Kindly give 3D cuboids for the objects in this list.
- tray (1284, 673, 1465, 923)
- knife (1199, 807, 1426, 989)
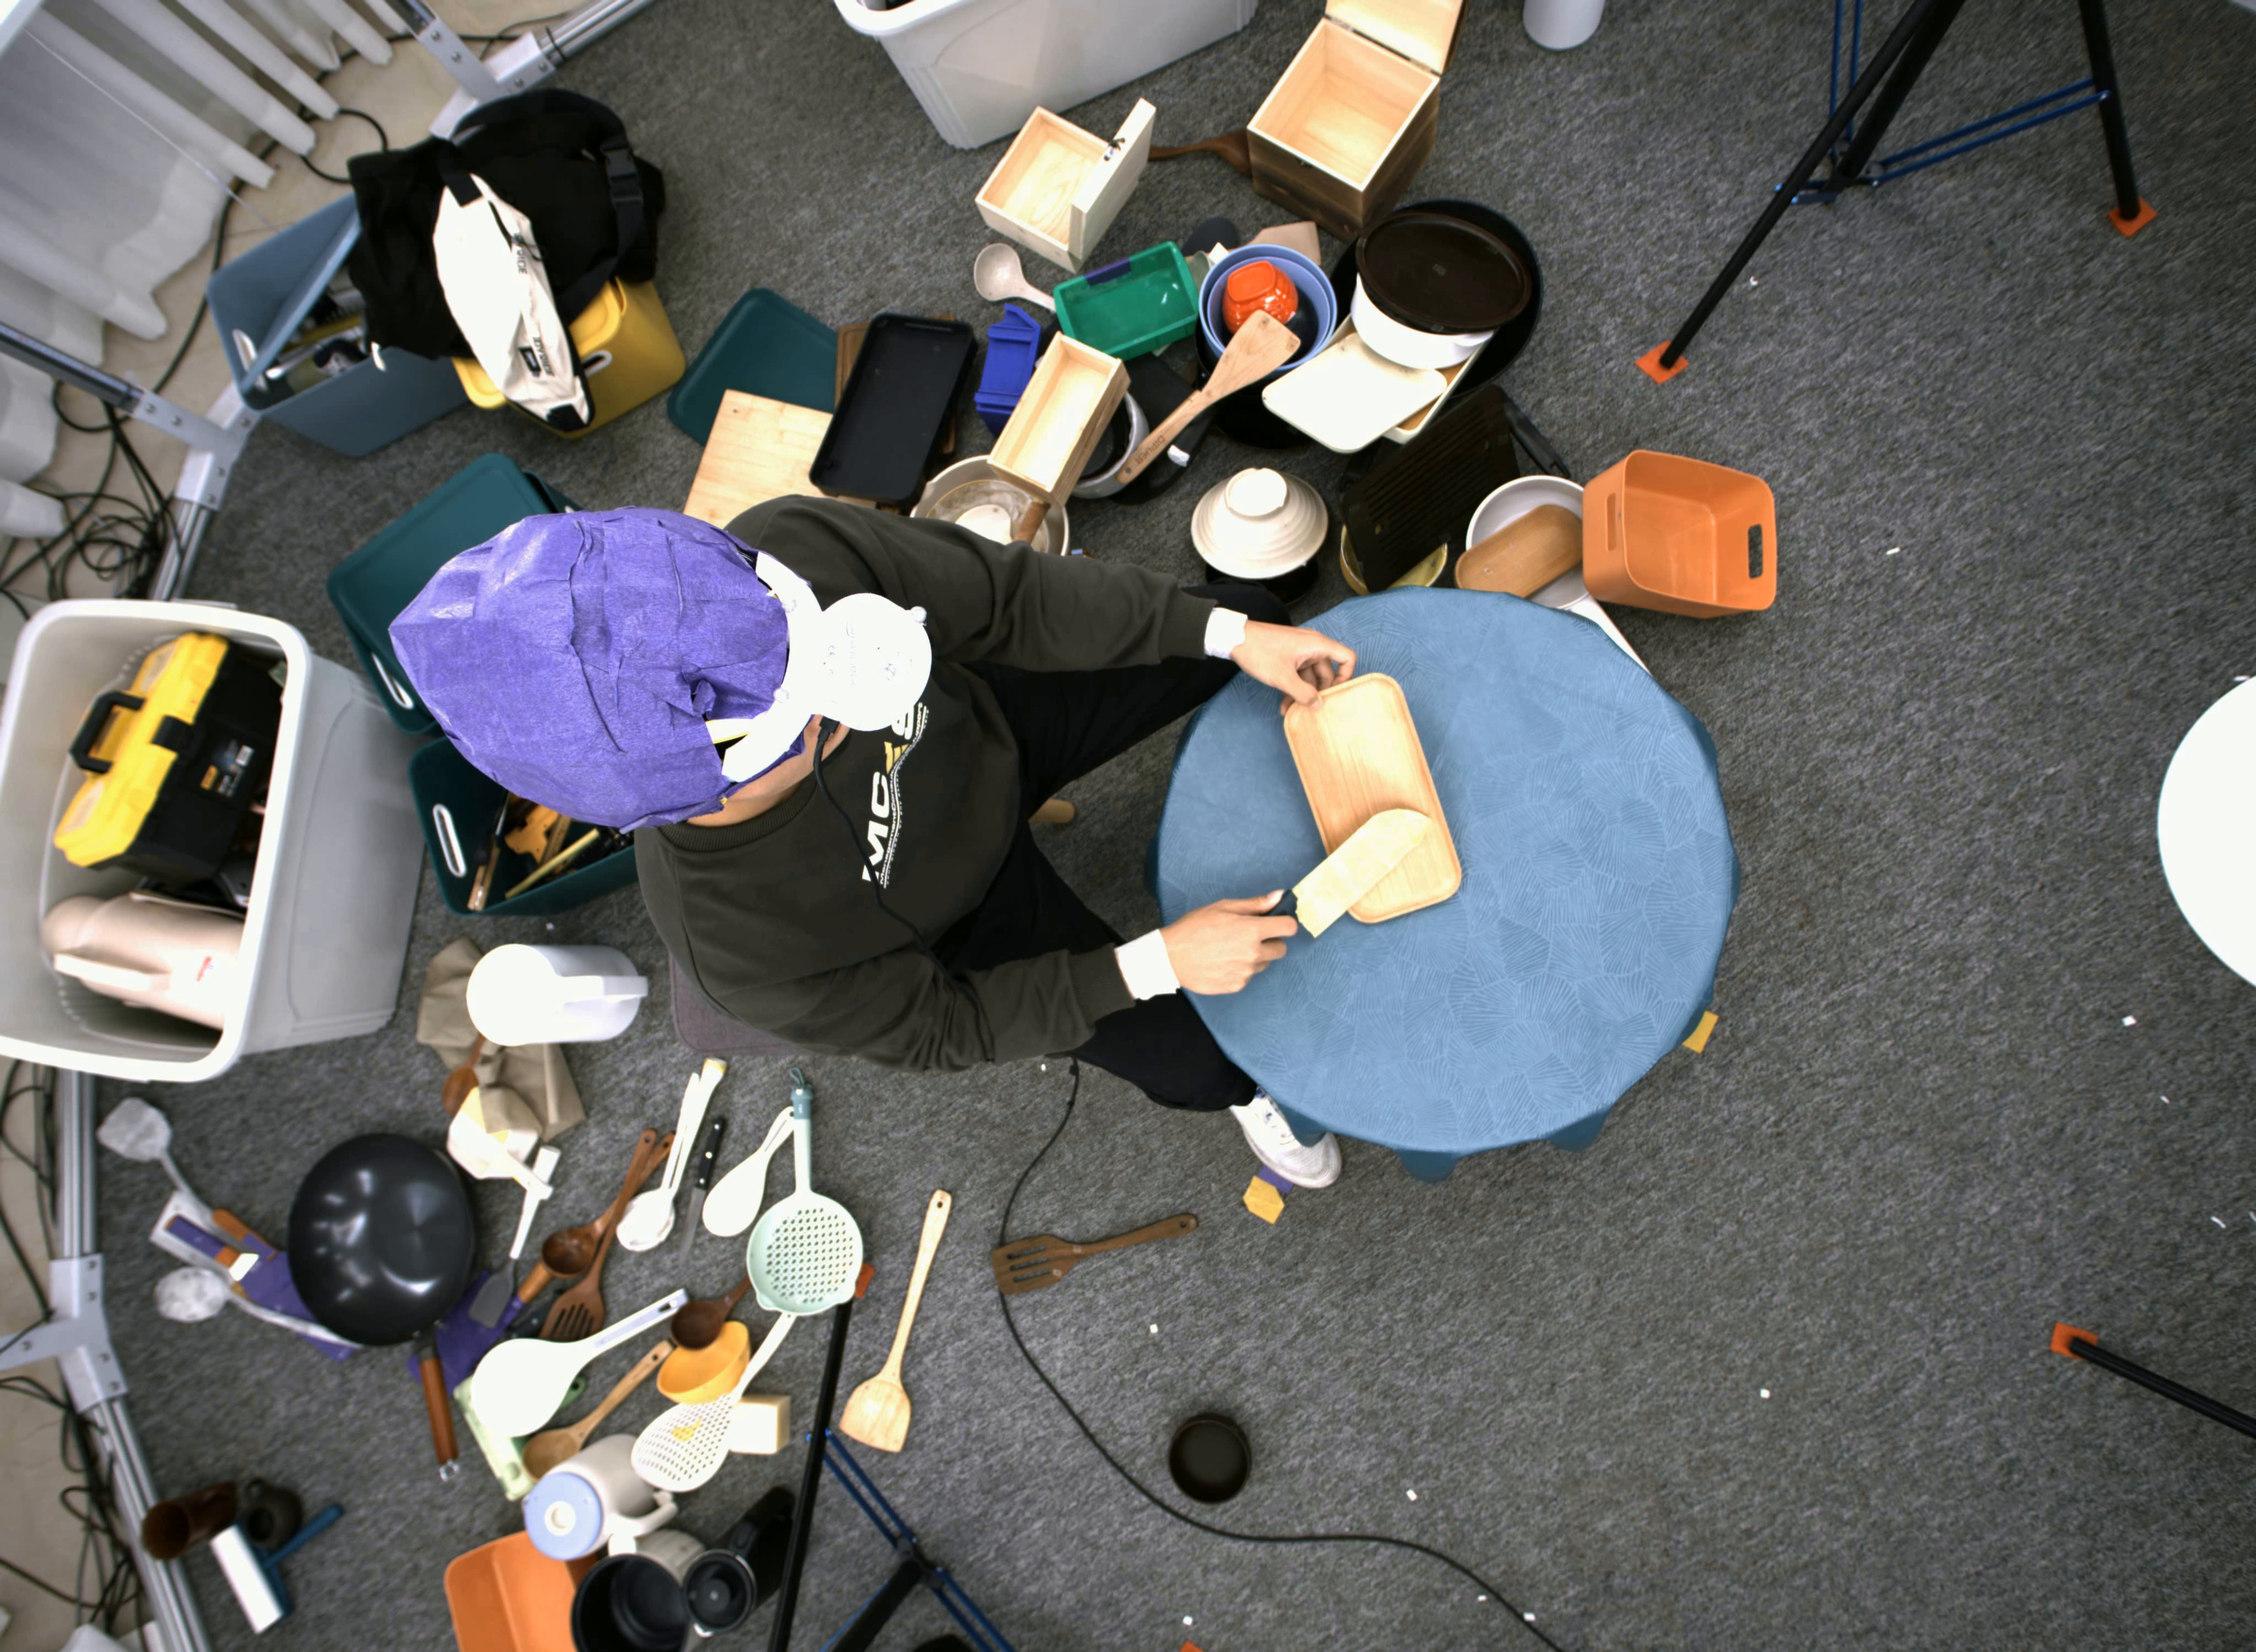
[{"bbox_3d":[0.256,-0.029,1.425,0.131,0.022,0.252,-18,102,11],"label":"tray"},{"bbox_3d":[0.193,0.077,1.422,0.290,0.027,0.082,-39,125,5],"label":"knife"}]
